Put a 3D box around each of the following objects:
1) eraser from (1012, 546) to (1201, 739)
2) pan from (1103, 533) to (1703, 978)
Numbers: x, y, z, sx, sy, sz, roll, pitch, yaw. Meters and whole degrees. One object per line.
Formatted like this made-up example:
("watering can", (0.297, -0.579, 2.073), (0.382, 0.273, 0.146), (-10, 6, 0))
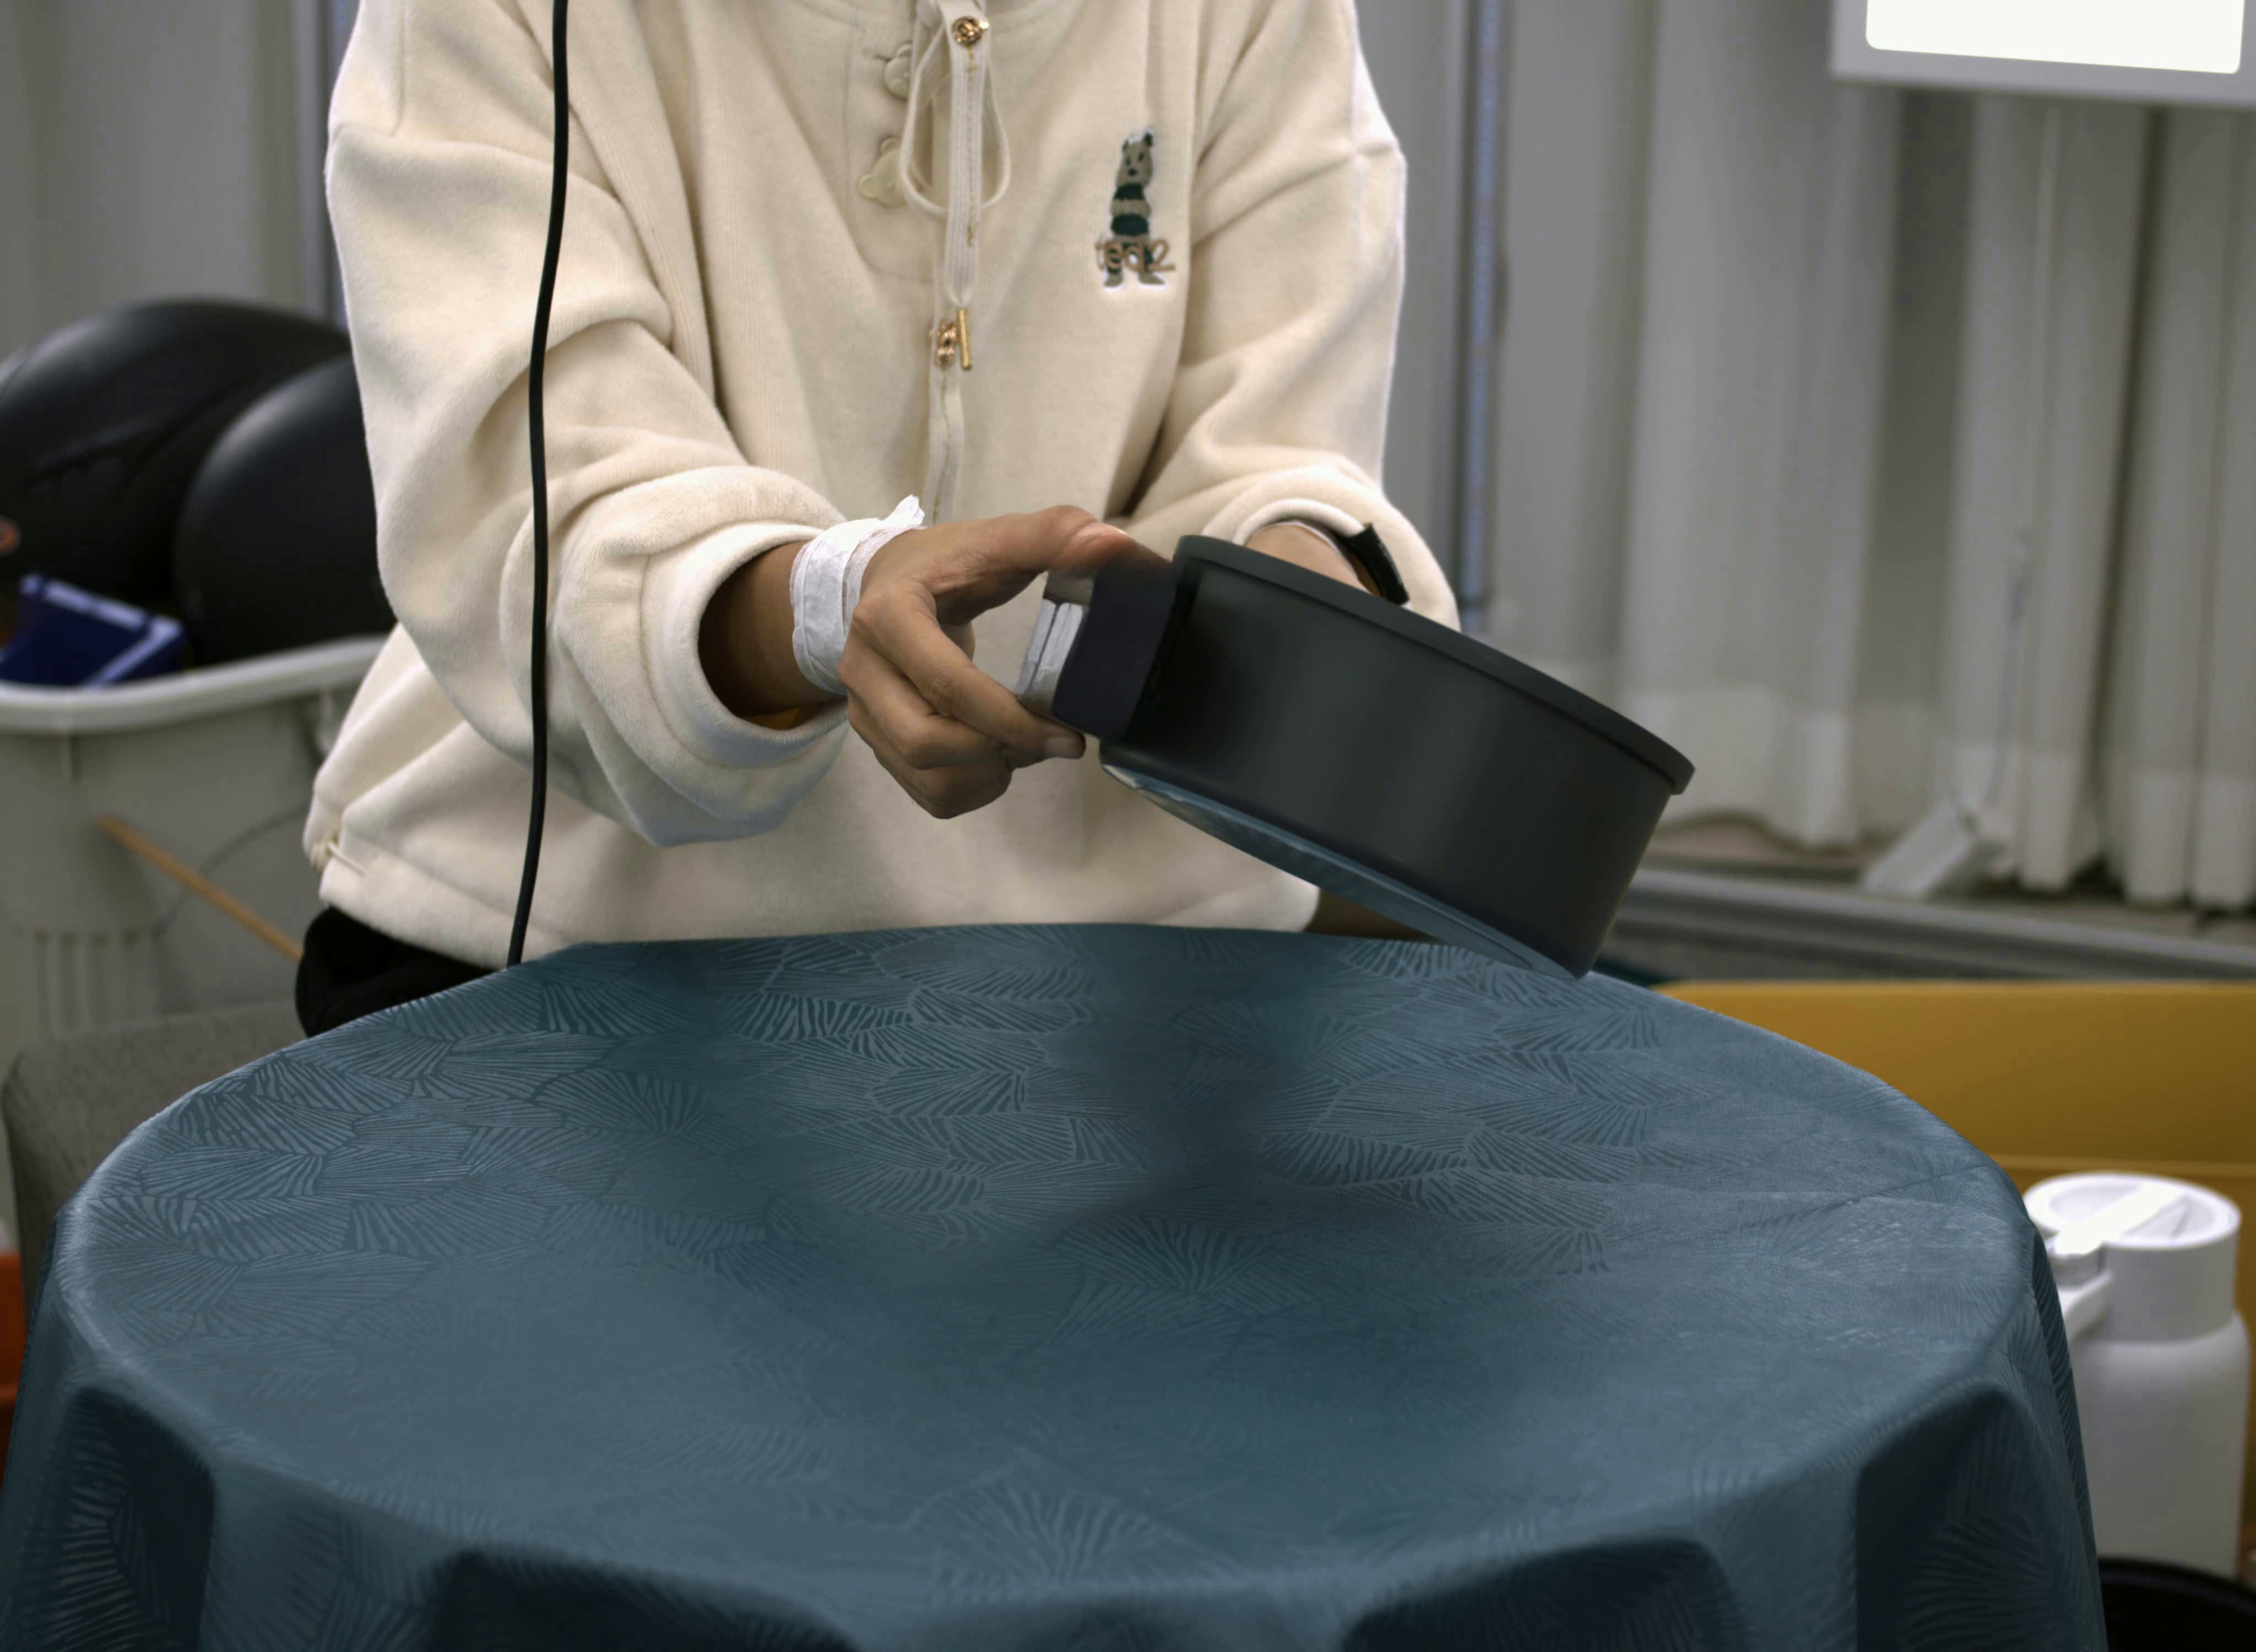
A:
("eraser", (-0.007, -0.055, 1.555), (0.030, 0.053, 0.125), (22, 0, -7))
("pan", (0.069, -0.022, 1.662), (0.172, 0.086, 0.327), (26, -2, -7))
